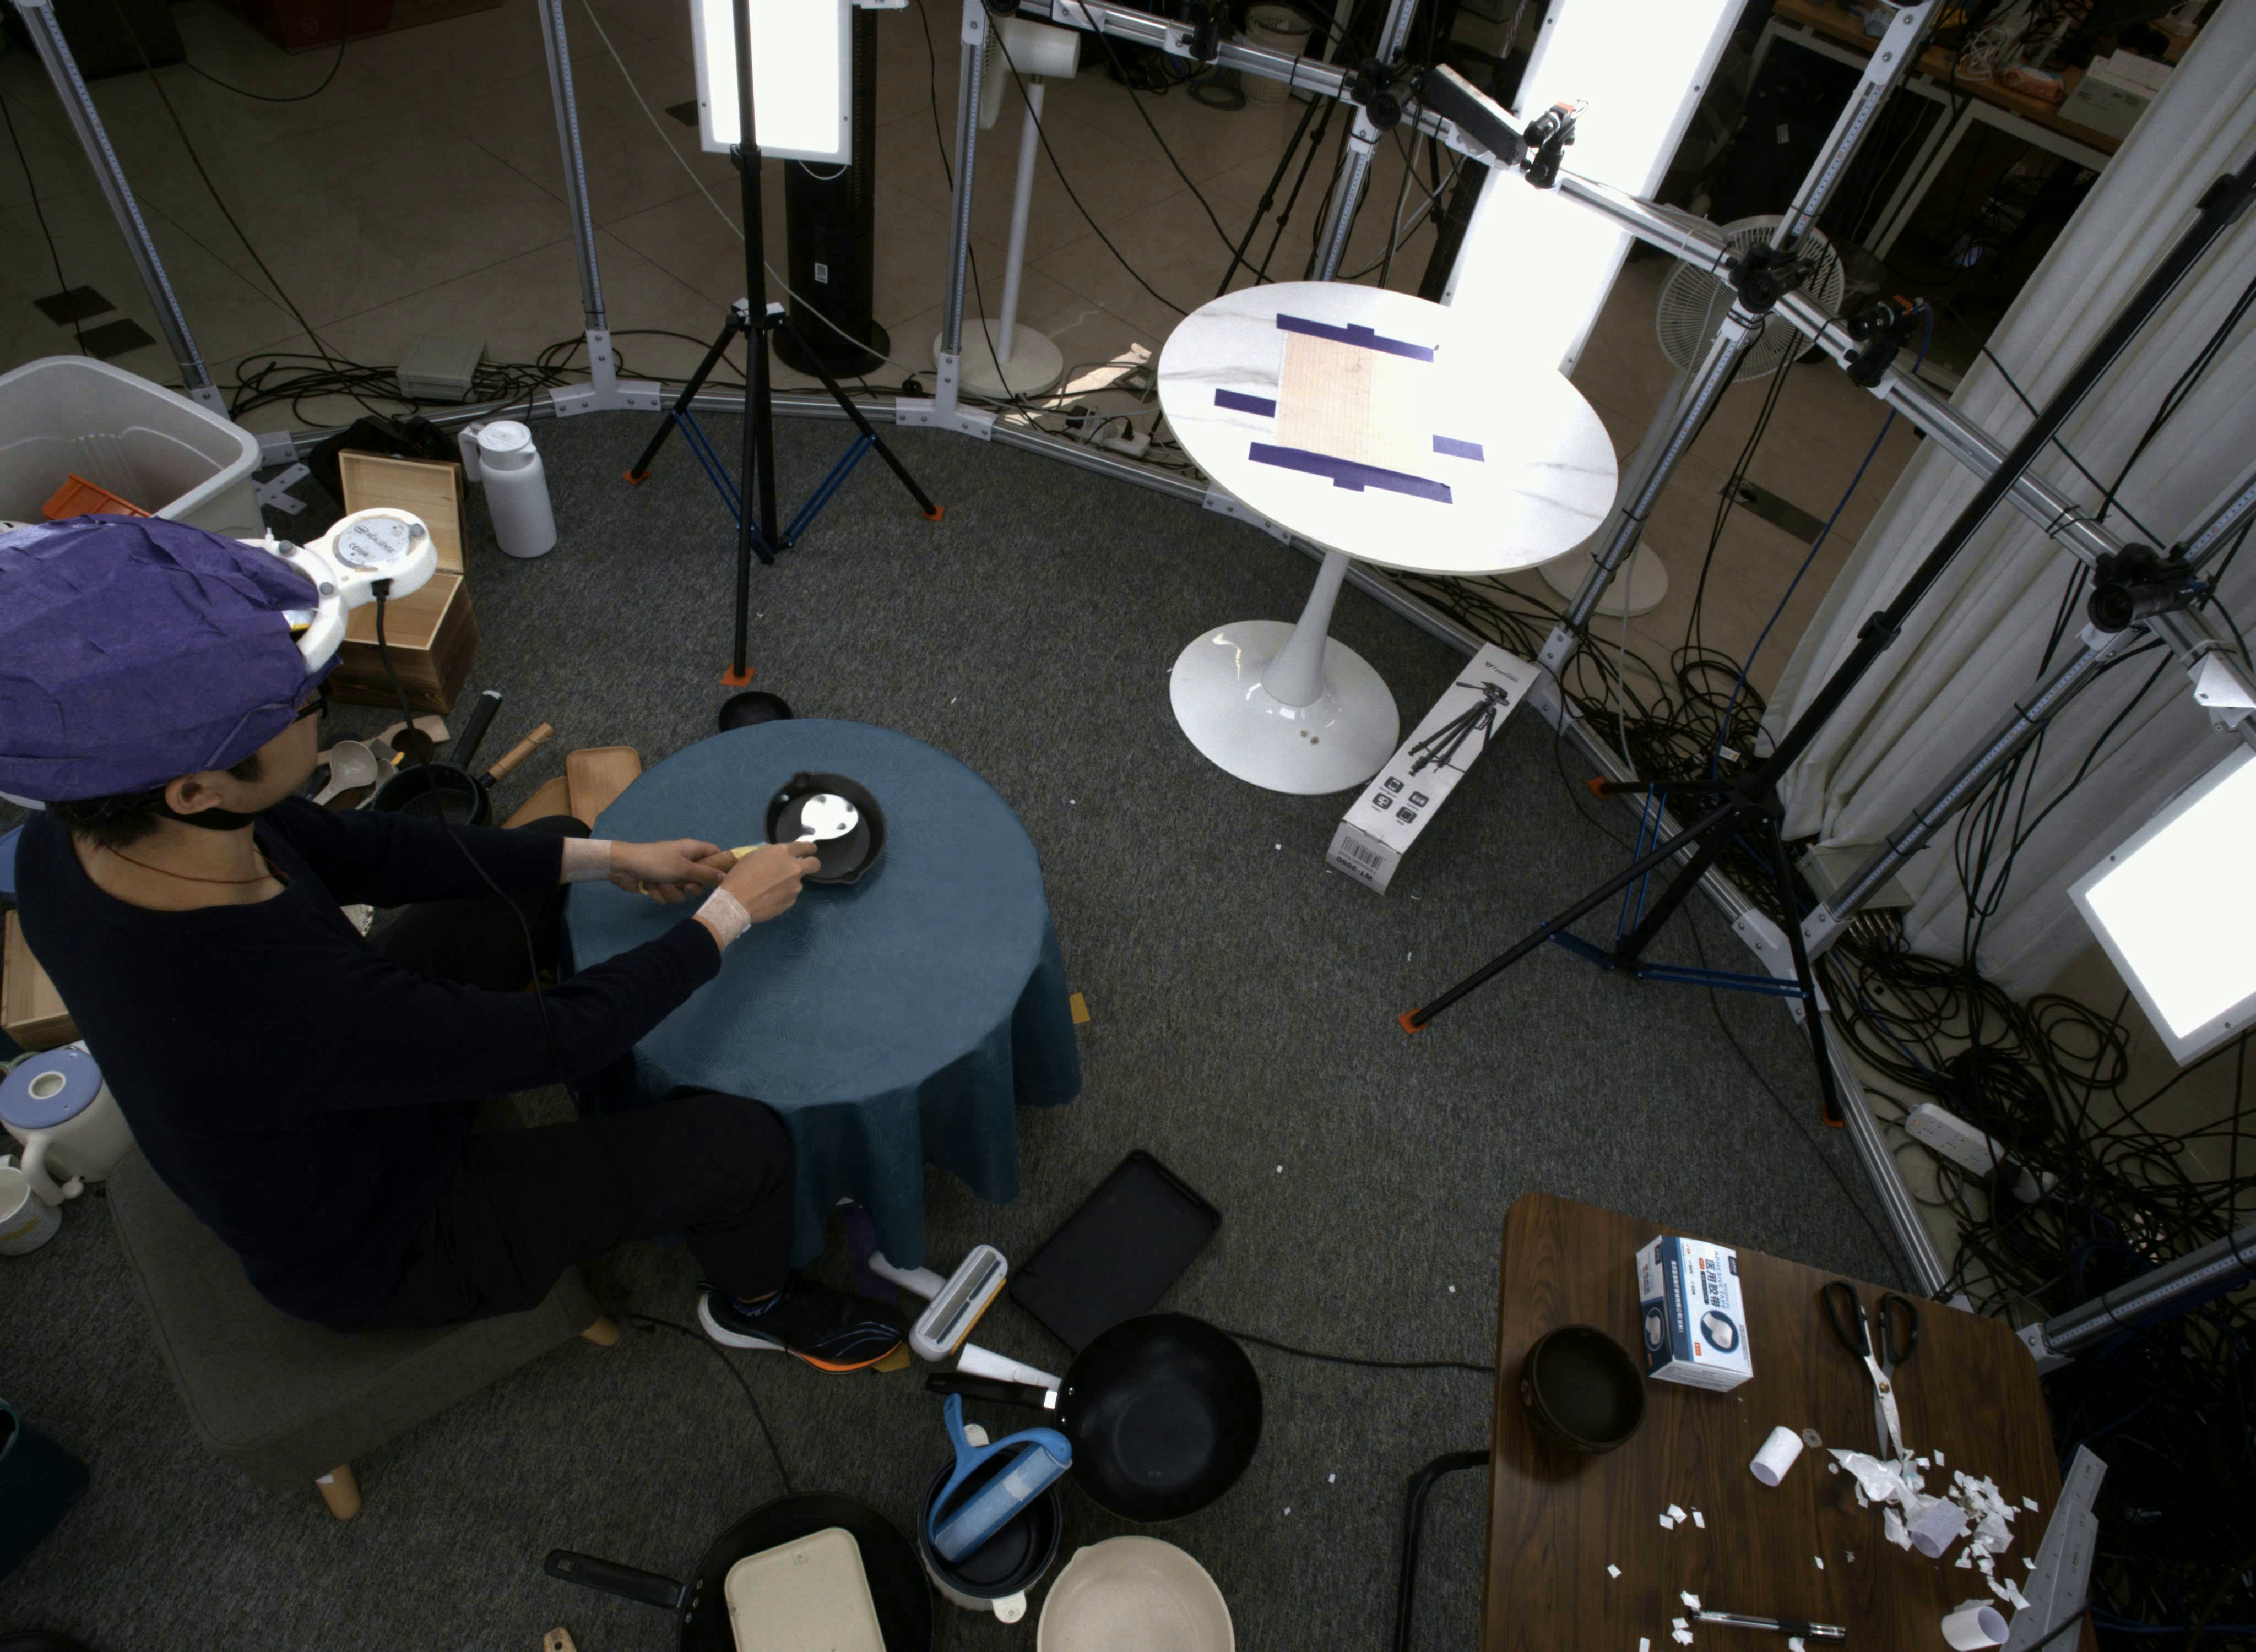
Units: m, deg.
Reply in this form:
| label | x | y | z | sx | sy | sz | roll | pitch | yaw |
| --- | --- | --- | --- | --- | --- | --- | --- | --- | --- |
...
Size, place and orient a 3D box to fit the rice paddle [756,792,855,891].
| label | x | y | z | sx | sy | sz | roll | pitch | yaw |
| --- | --- | --- | --- | --- | --- | --- | --- | --- | --- |
| rice paddle | -0.405 | 0.011 | 1.631 | 0.069 | 0.030 | 0.203 | 31 | 35 | -3 |

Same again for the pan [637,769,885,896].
| label | x | y | z | sx | sy | sz | roll | pitch | yaw |
| --- | --- | --- | --- | --- | --- | --- | --- | --- | --- |
| pan | -0.461 | 0.027 | 1.626 | 0.326 | 0.049 | 0.168 | -20 | 77 | -32 |
